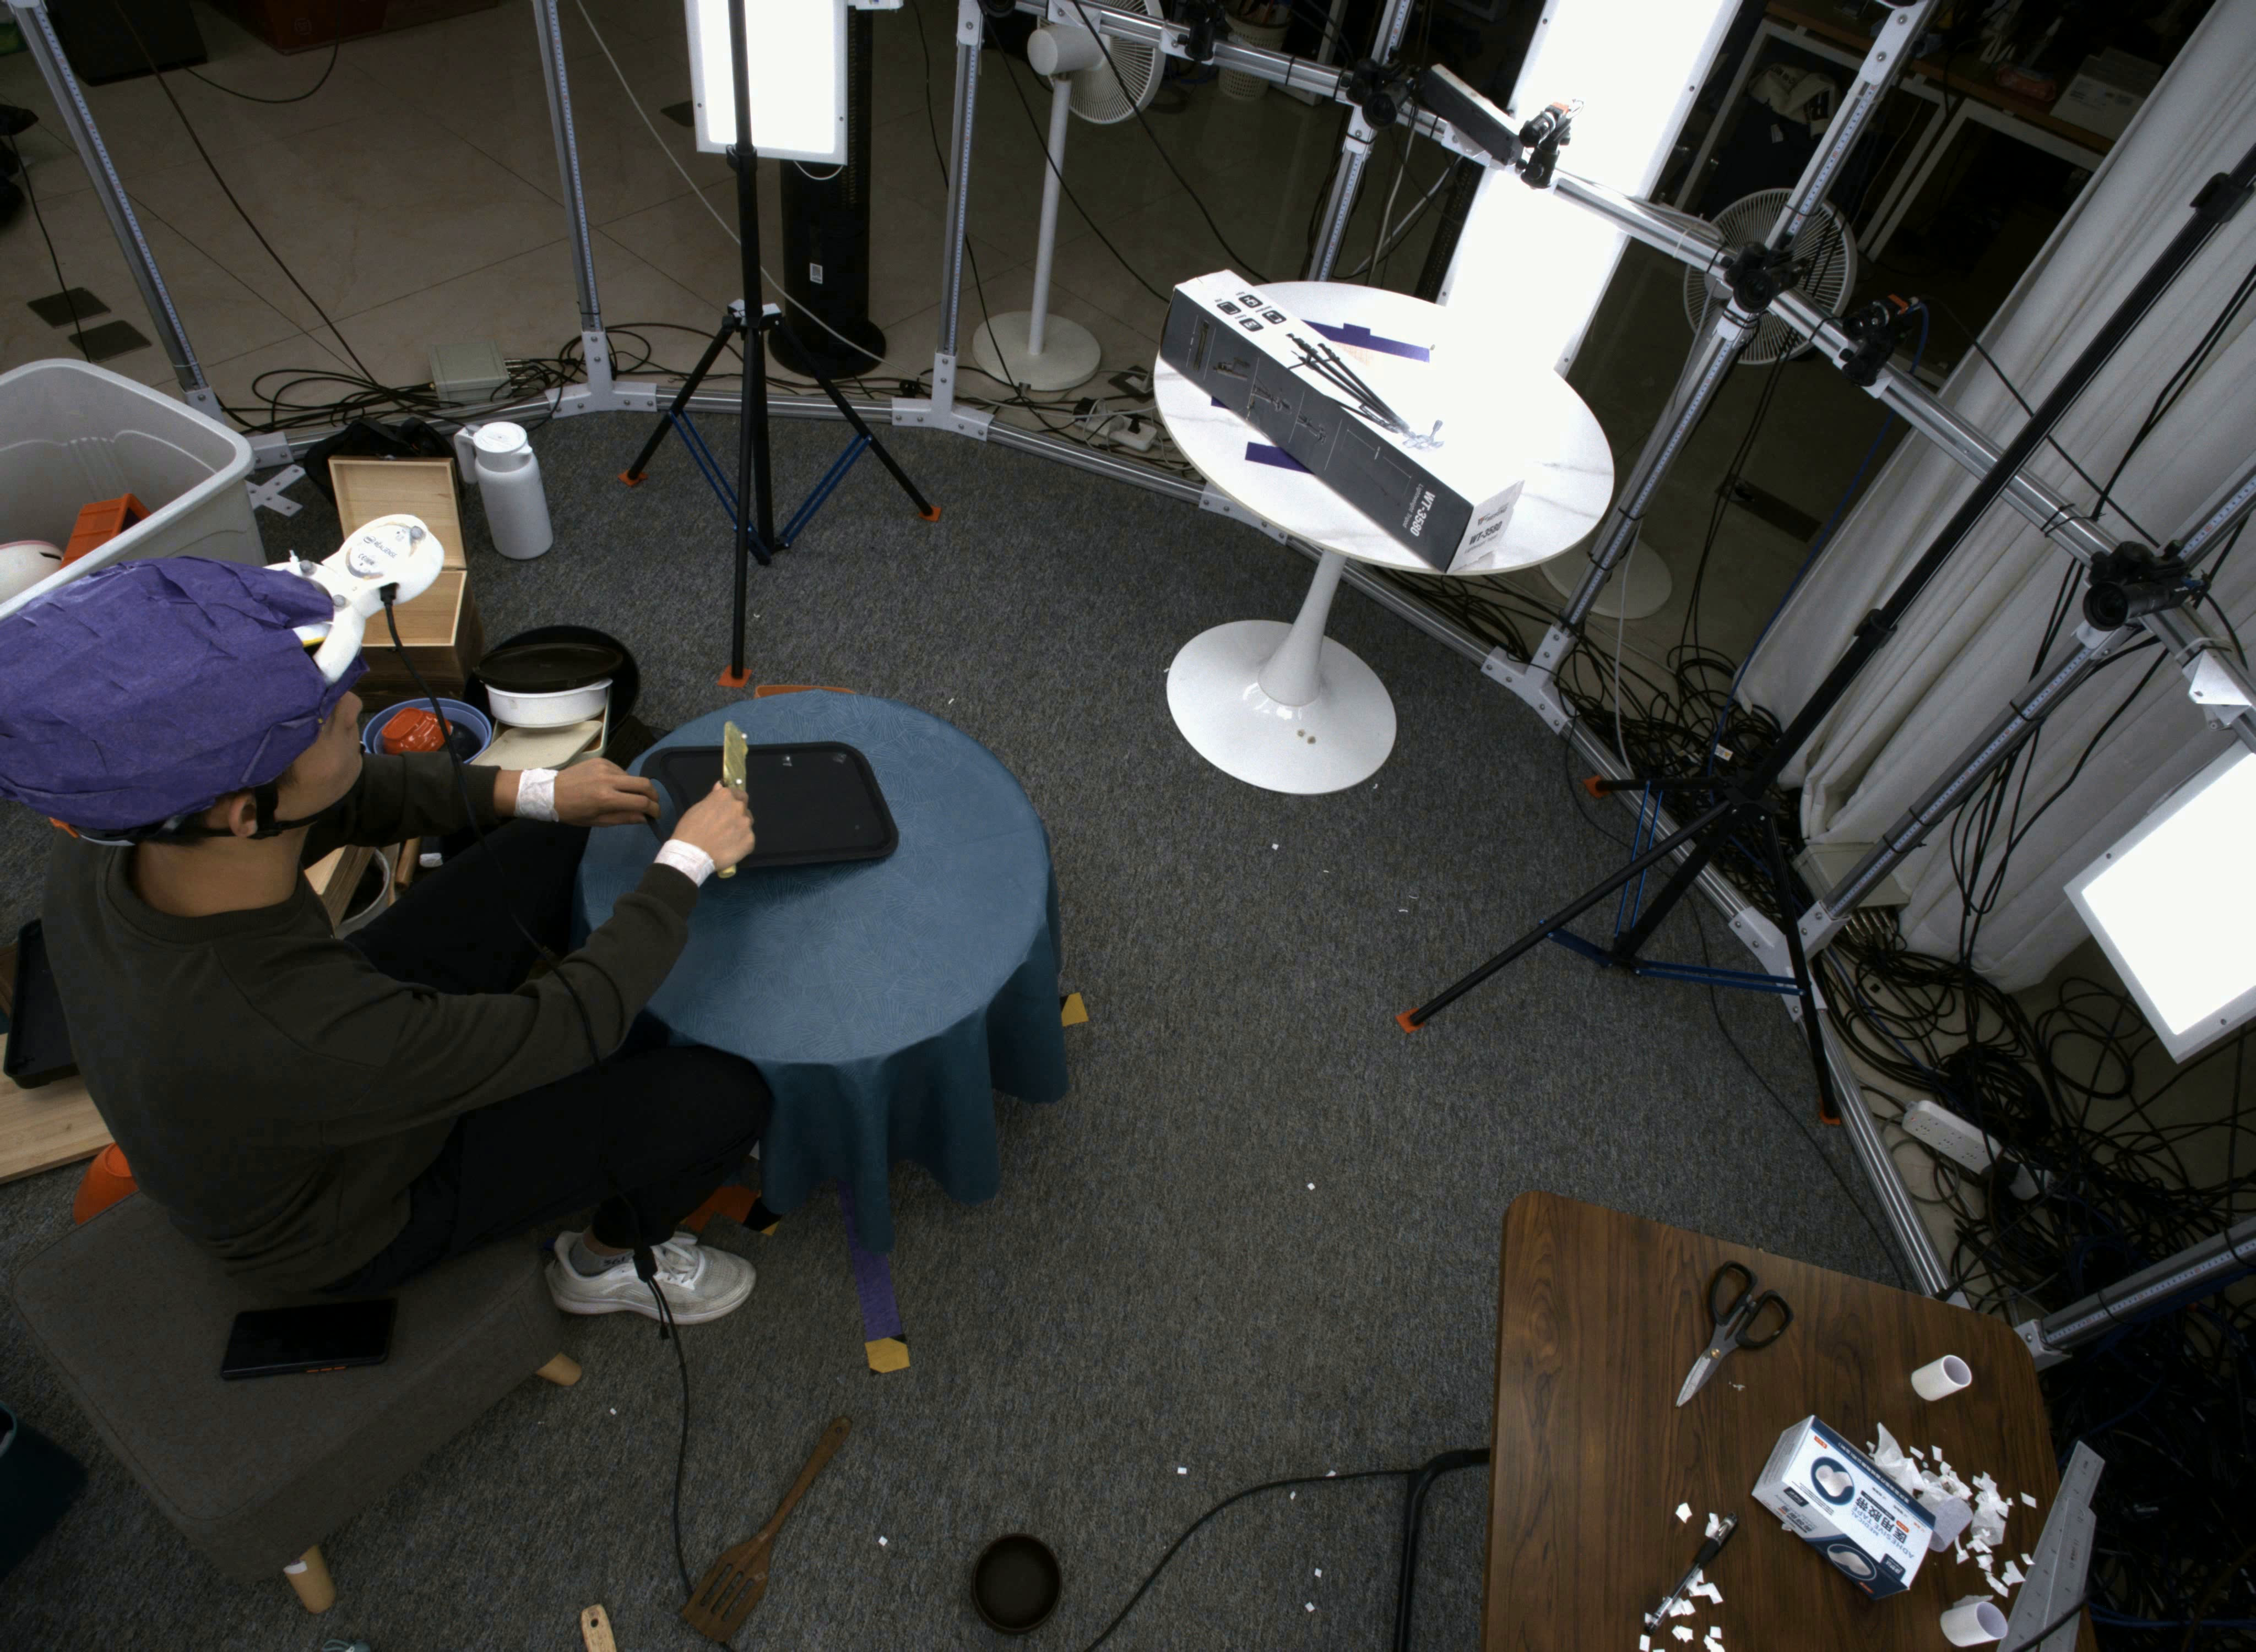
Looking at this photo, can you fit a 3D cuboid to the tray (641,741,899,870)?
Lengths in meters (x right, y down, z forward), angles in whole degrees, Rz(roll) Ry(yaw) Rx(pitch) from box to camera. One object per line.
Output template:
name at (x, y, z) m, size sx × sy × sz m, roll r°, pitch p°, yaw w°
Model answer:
tray at (-0.468, -0.033, 1.689) m, size 0.330 × 0.010 × 0.206 m, roll -4°, pitch 53°, yaw -36°

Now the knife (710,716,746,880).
knife at (-0.499, -0.037, 1.622) m, size 0.027 × 0.084 × 0.282 m, roll -14°, pitch 47°, yaw 2°
